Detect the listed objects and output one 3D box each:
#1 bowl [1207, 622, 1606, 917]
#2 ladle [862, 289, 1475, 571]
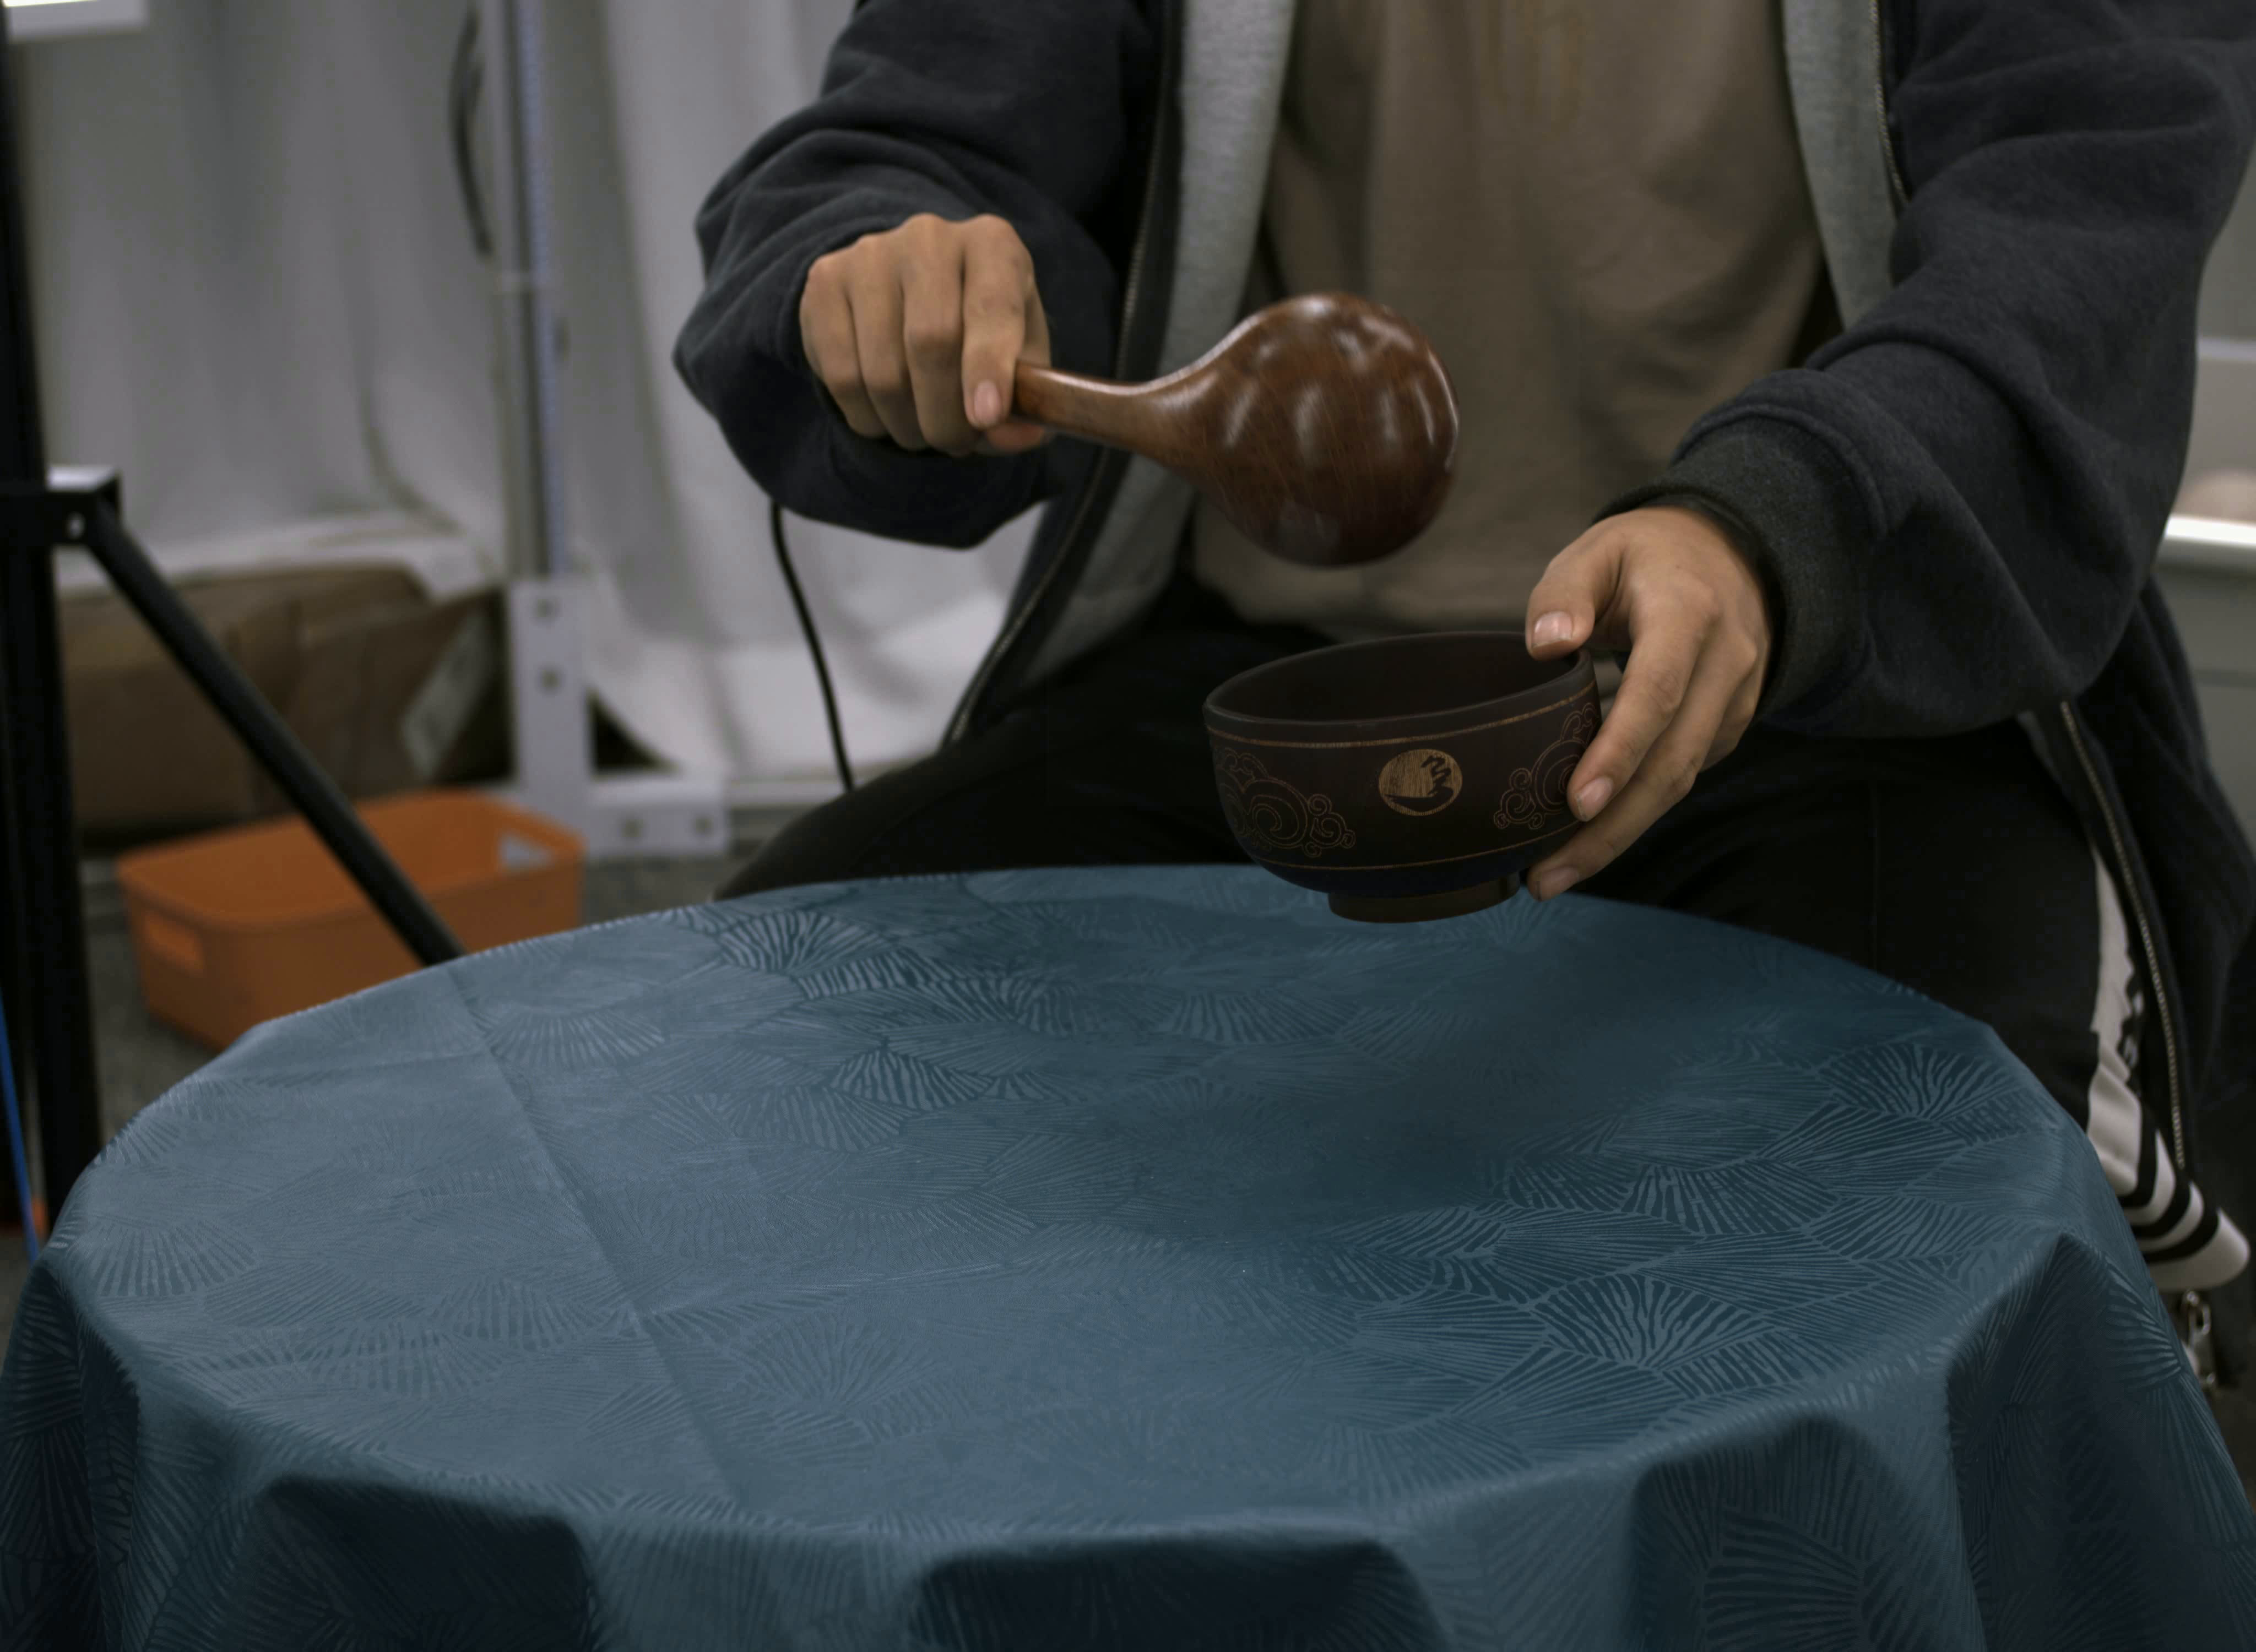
[{"bbox_3d":[0.084,-0.014,1.570,0.117,0.070,0.118,-8,13,0],"label":"bowl"},{"bbox_3d":[0.010,-0.129,1.647,0.075,0.082,0.279,-1,8,-28],"label":"ladle"}]
